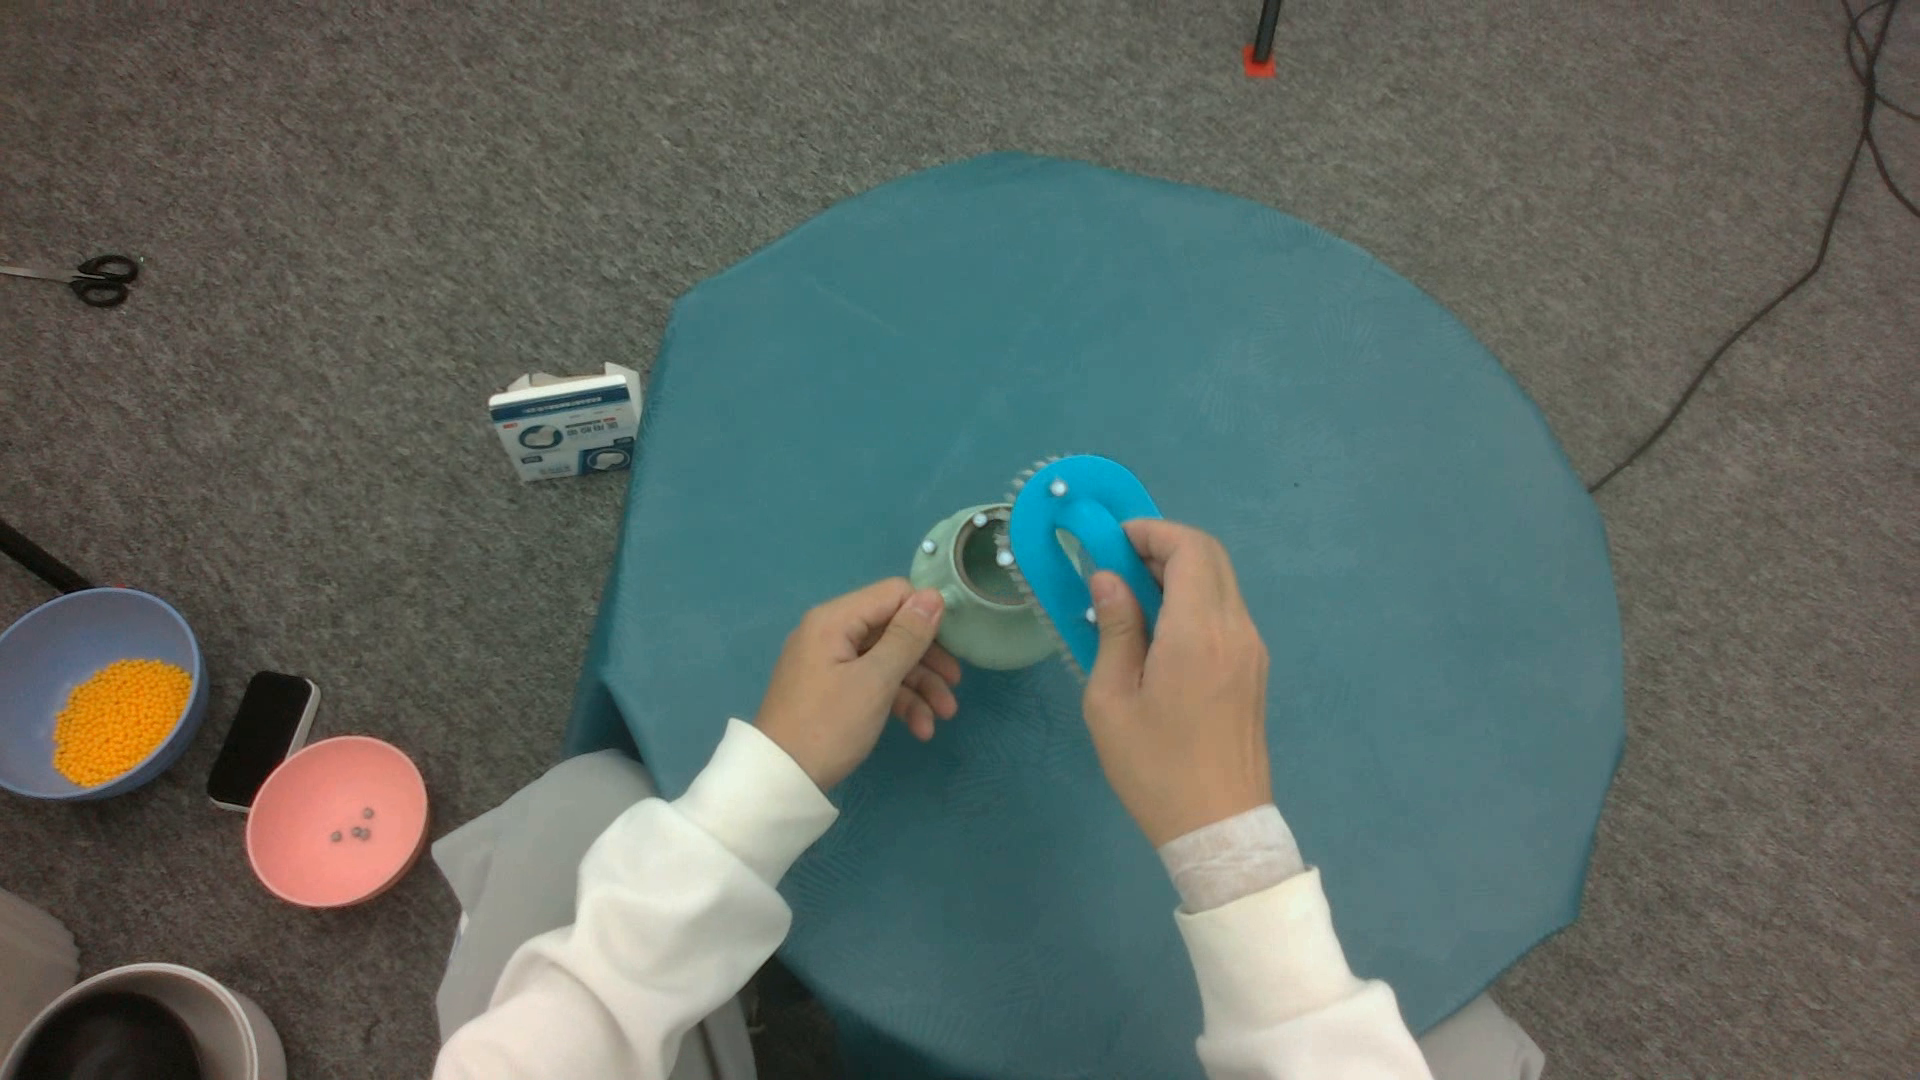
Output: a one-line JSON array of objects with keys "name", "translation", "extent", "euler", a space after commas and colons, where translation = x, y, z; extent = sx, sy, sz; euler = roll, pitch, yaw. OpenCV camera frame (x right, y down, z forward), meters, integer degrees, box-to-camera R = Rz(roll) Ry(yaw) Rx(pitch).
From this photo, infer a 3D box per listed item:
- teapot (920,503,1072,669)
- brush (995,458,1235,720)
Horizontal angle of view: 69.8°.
[{"name": "teapot", "translation": [0.029, 0.022, 0.752], "extent": [0.137, 0.061, 0.096], "euler": [-38, 76, -21]}, {"name": "brush", "translation": [0.082, 0.022, 0.670], "extent": [0.084, 0.063, 0.141], "euler": [-36, 98, -13]}]
